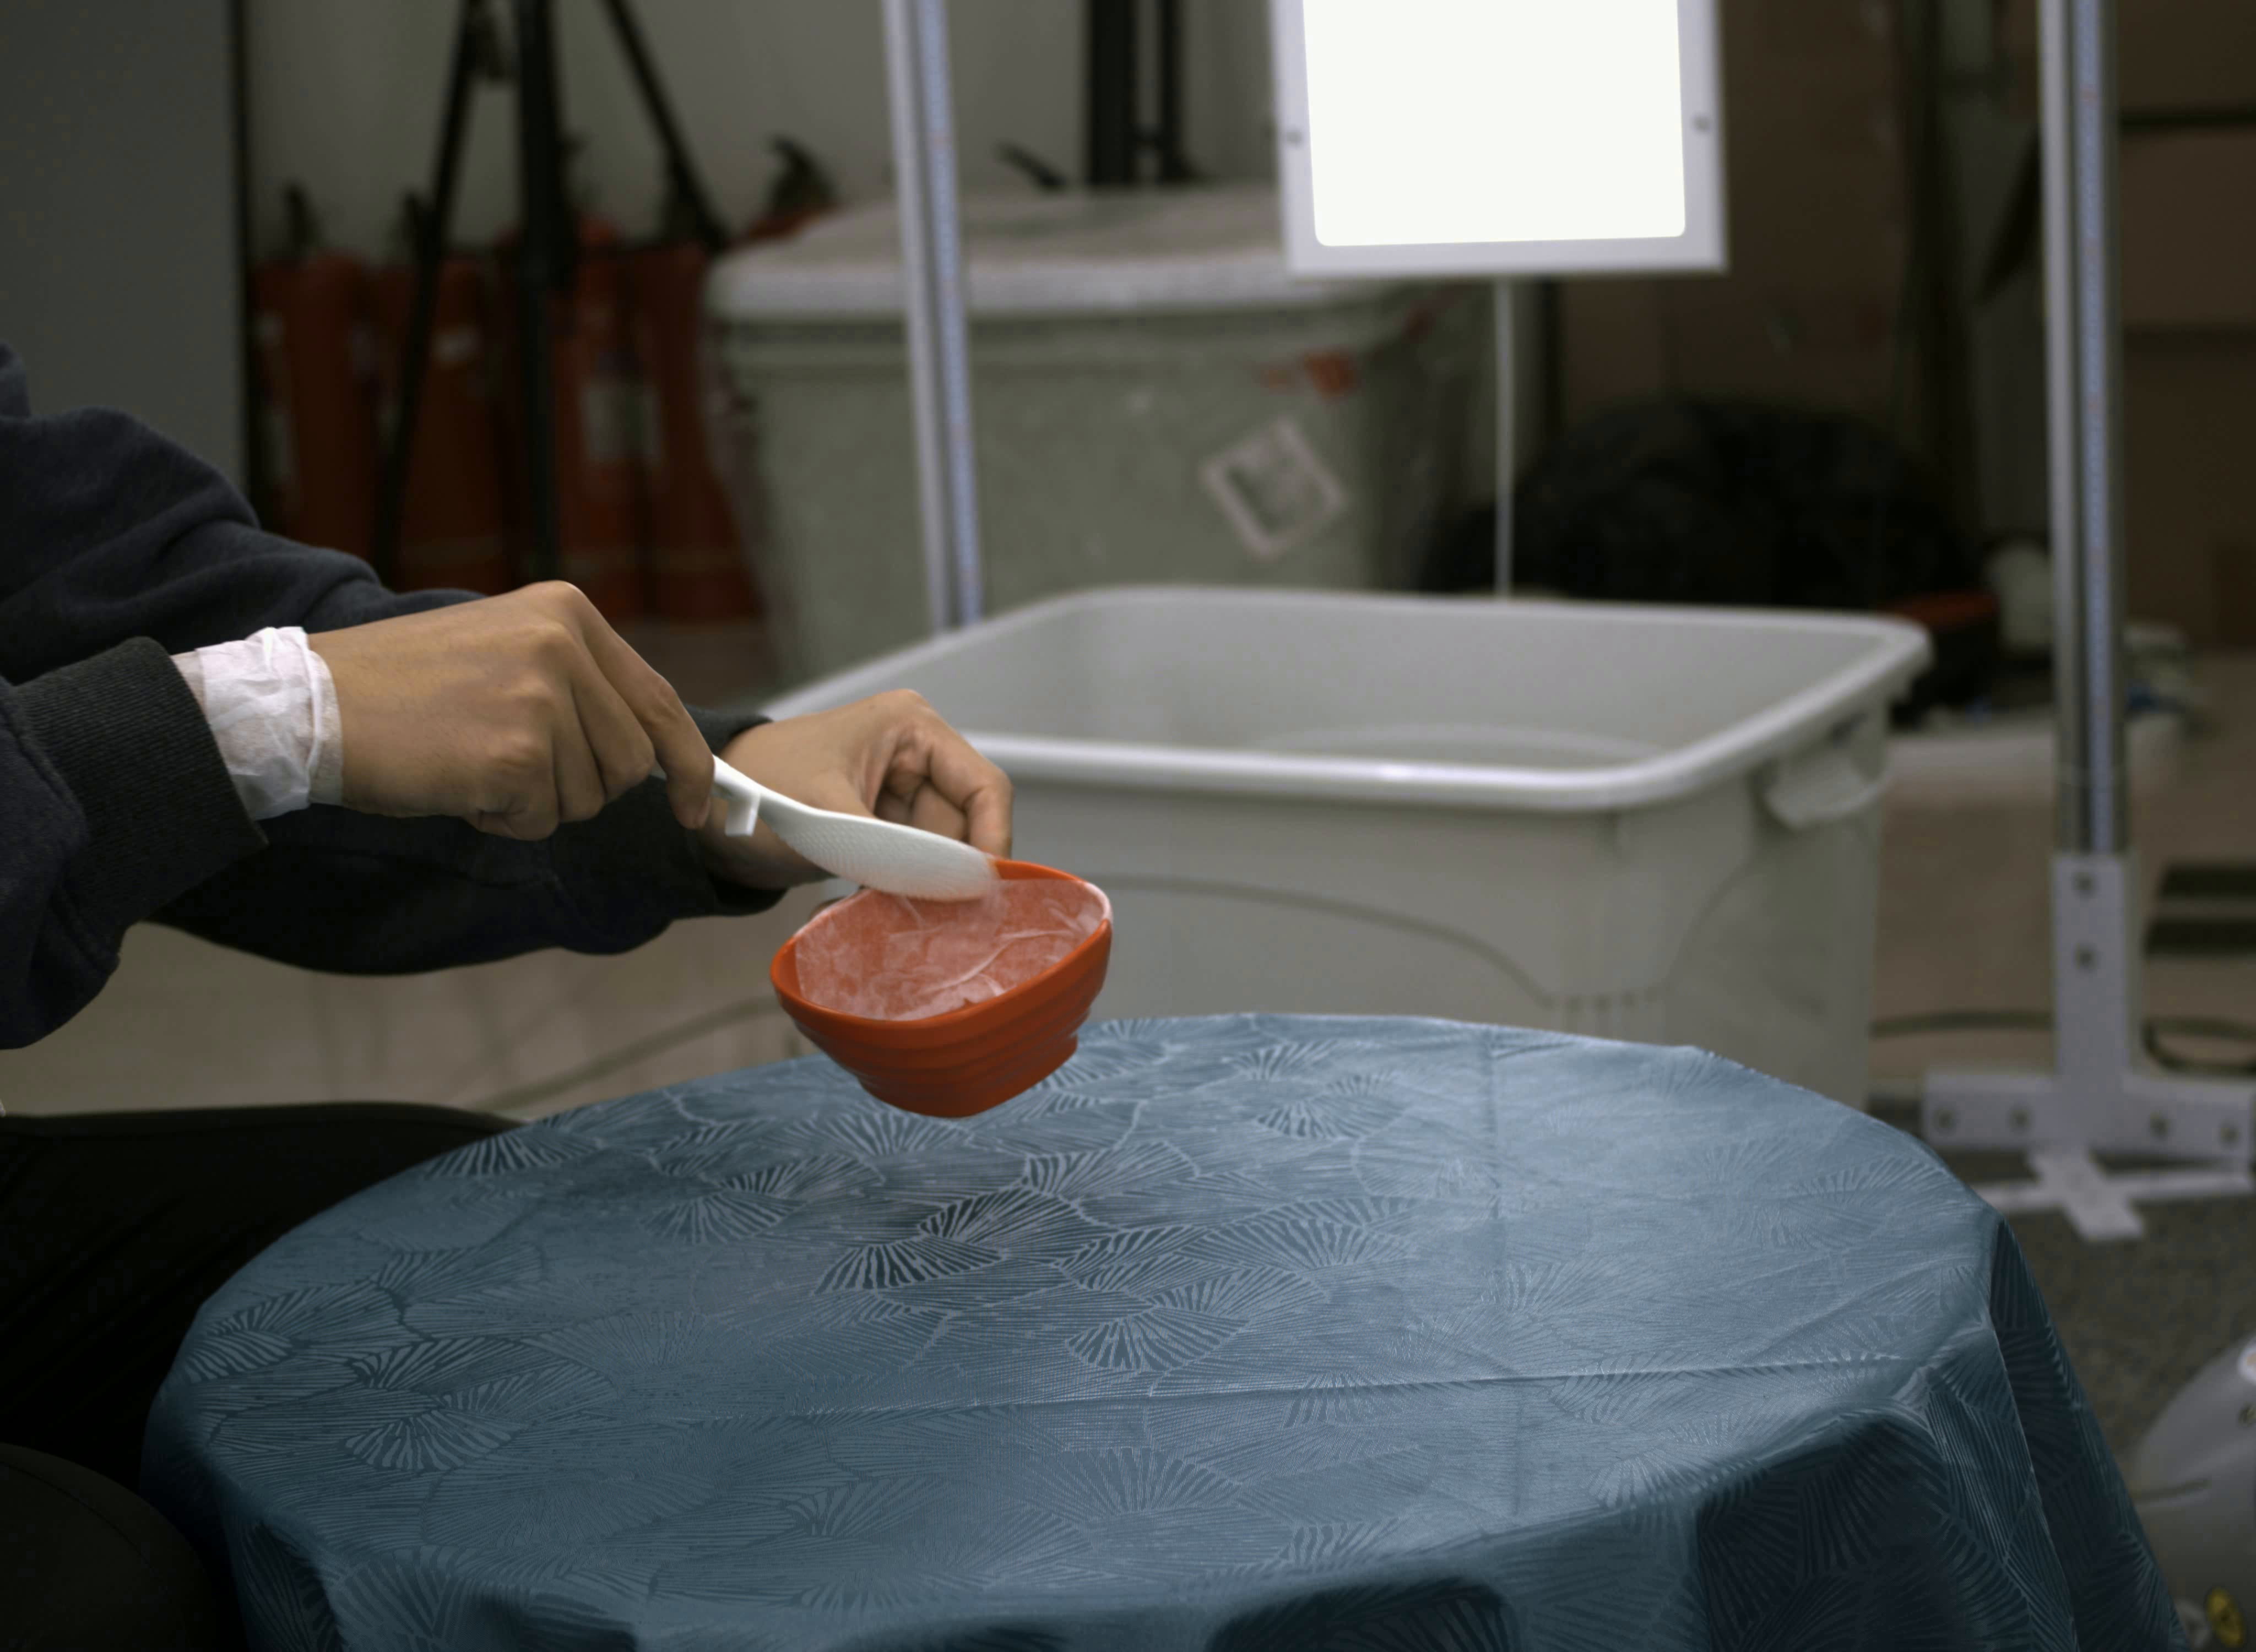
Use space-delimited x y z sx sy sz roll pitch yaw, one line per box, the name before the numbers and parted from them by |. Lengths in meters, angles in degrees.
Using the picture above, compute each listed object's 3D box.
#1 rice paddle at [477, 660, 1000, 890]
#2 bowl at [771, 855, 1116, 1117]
rice paddle | -0.123 -0.011 1.793 0.201 0.029 0.070 20 -13 -39
bowl | -0.059 0.058 1.871 0.119 0.051 0.118 -11 26 4
